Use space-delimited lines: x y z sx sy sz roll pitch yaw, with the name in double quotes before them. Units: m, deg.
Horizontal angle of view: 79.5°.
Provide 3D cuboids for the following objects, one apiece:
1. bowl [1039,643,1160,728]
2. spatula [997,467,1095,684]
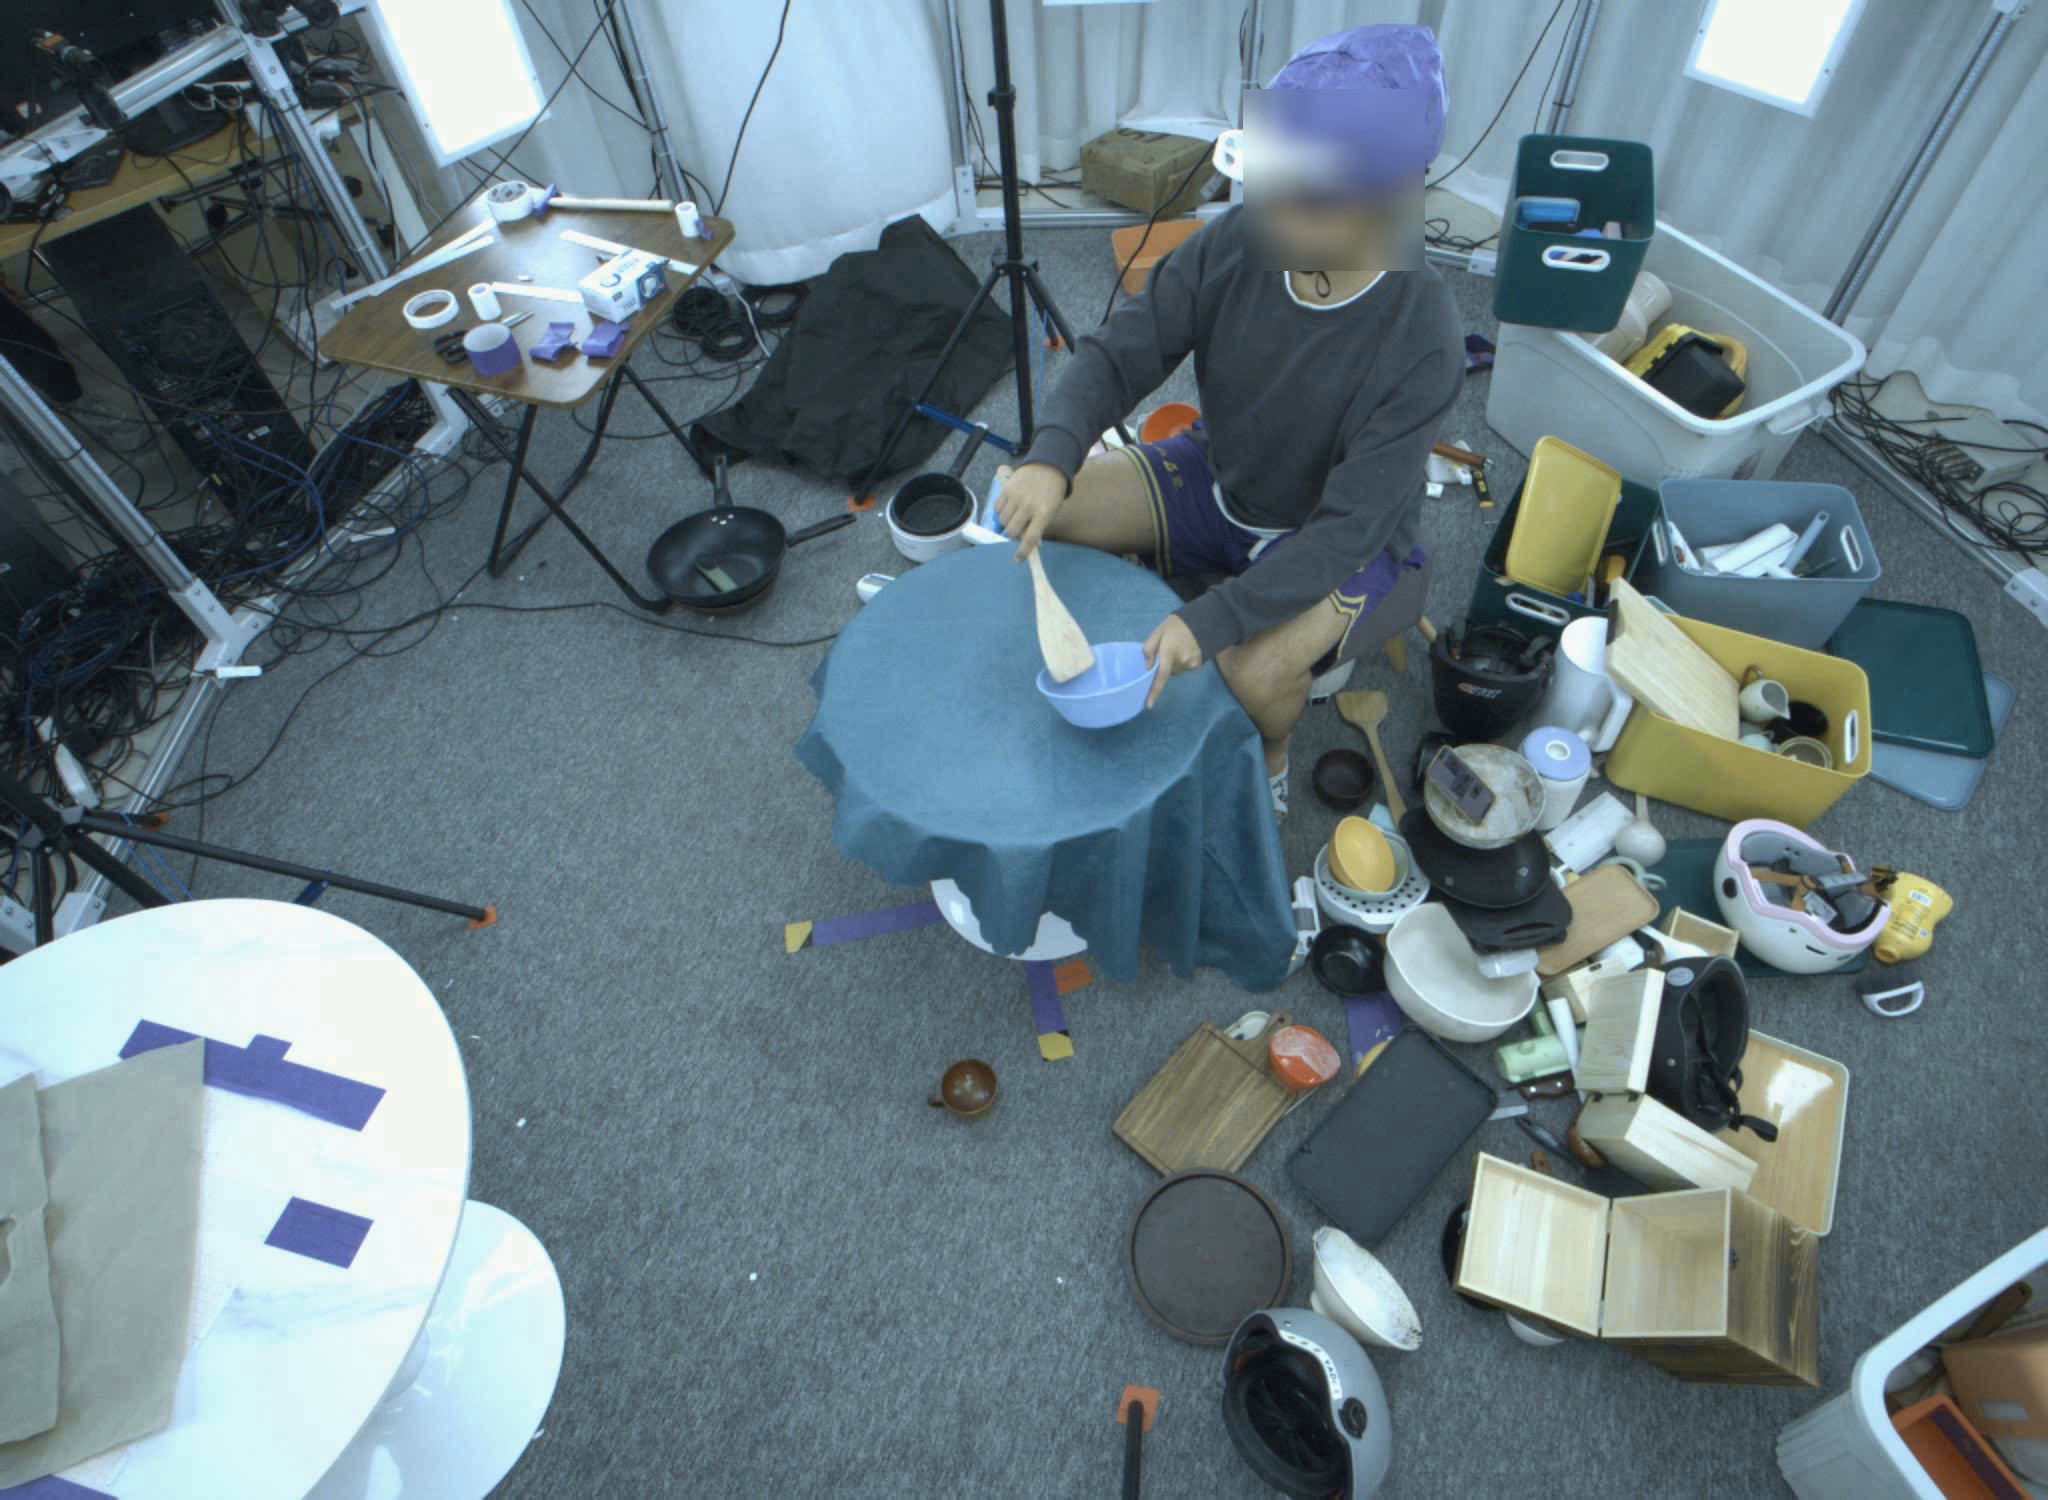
"bowl" 0.113 -0.087 1.754 0.175 0.071 0.174 -11 26 7
"spatula" 0.022 -0.256 1.765 0.081 0.016 0.327 -19 90 -29
